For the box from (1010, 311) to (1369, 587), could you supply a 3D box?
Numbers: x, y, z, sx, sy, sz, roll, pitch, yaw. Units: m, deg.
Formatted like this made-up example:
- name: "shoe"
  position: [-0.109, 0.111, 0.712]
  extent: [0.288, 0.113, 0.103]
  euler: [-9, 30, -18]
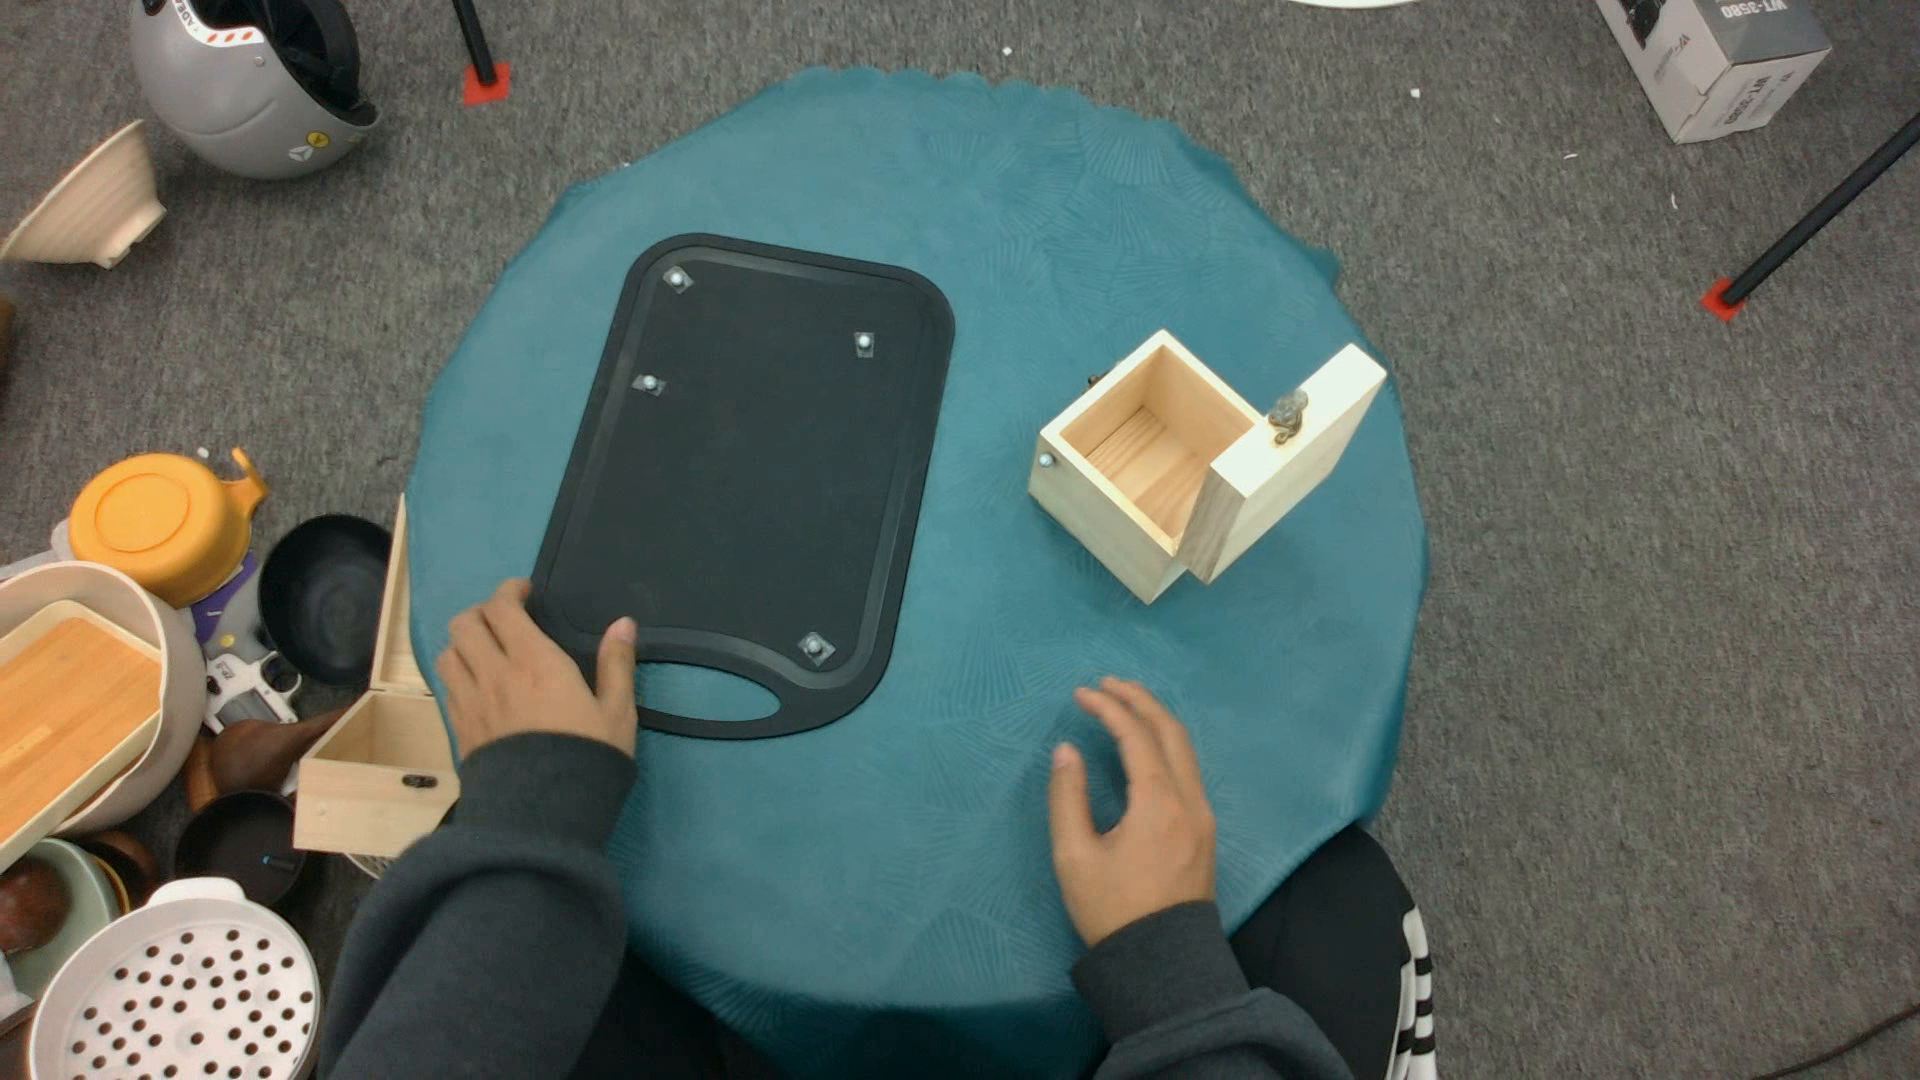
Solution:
- name: "box"
  position: [0.112, -0.066, 0.741]
  extent: [0.103, 0.184, 0.134]
  euler: [-42, 76, -19]

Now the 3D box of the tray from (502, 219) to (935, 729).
- name: "tray"
  position: [-0.137, -0.048, 0.813]
  extent: [0.211, 0.010, 0.326]
  euler: [10, 66, 1]
